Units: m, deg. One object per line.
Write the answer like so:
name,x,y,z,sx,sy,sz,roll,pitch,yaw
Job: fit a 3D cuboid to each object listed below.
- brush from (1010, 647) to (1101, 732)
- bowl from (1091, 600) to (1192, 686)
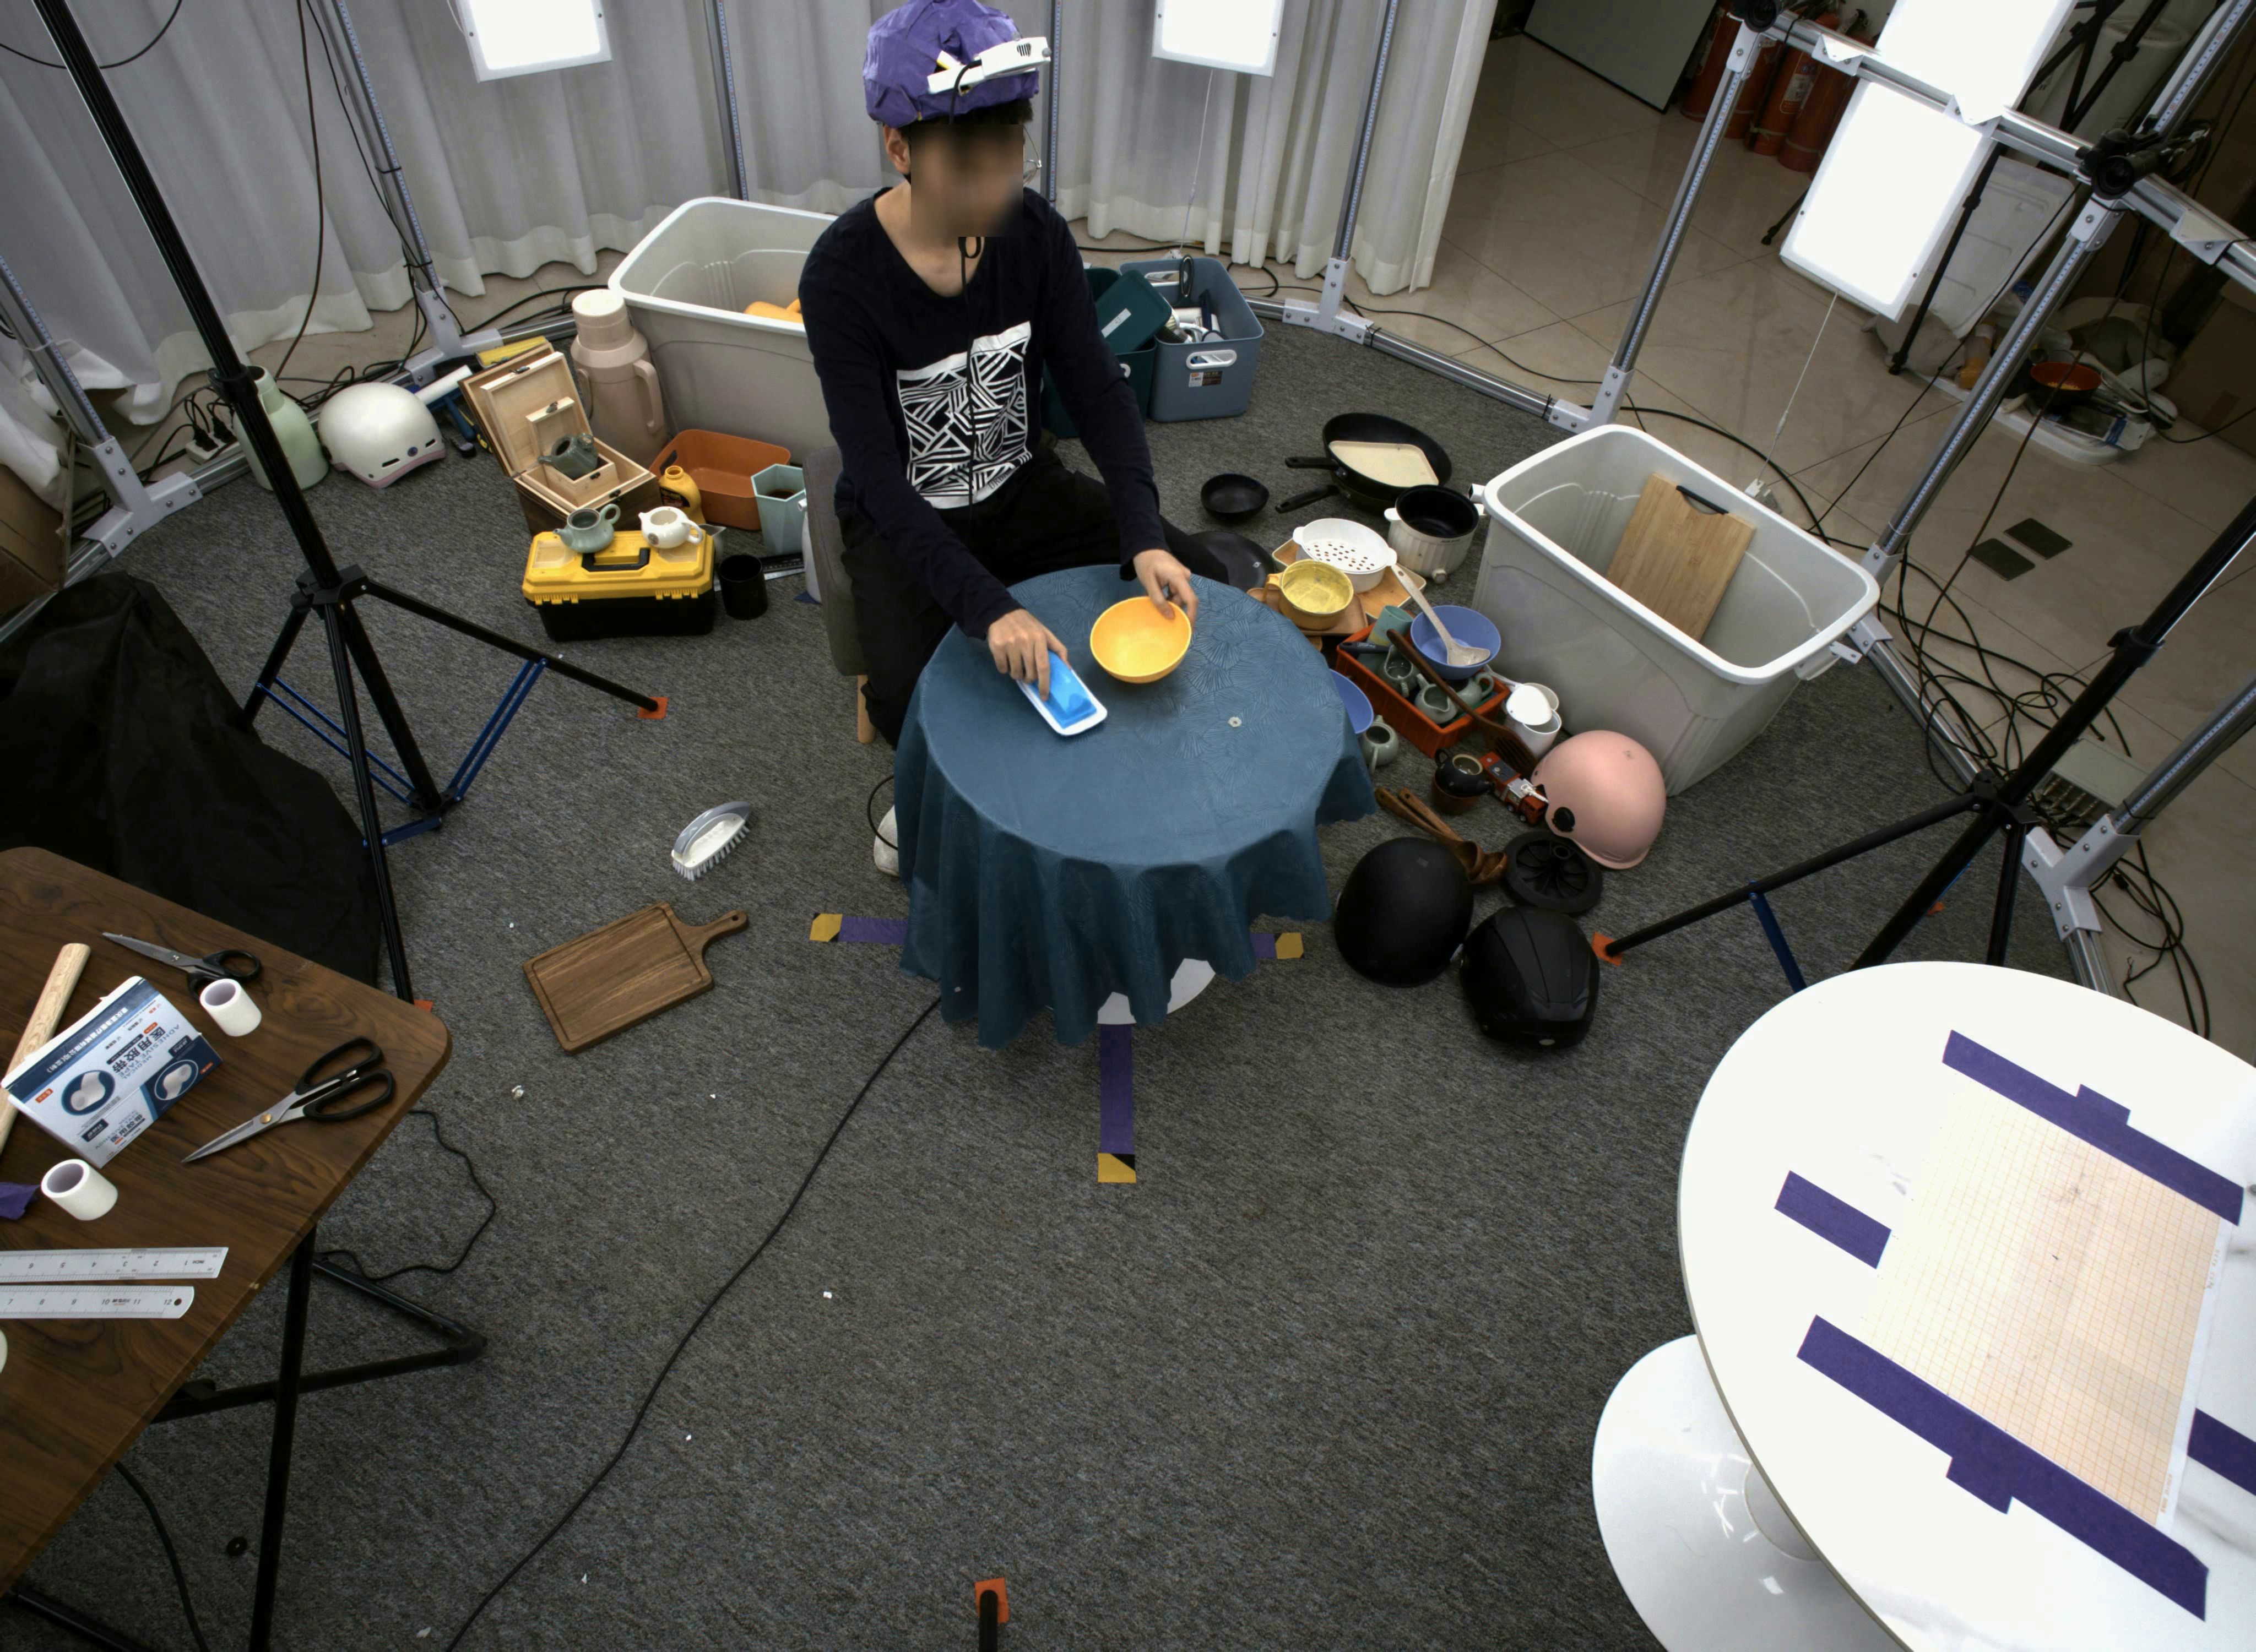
brush,-0.099,-0.197,1.788,0.084,0.054,0.147,-22,58,-23
bowl,0.021,-0.252,1.844,0.145,0.058,0.149,-3,55,5
